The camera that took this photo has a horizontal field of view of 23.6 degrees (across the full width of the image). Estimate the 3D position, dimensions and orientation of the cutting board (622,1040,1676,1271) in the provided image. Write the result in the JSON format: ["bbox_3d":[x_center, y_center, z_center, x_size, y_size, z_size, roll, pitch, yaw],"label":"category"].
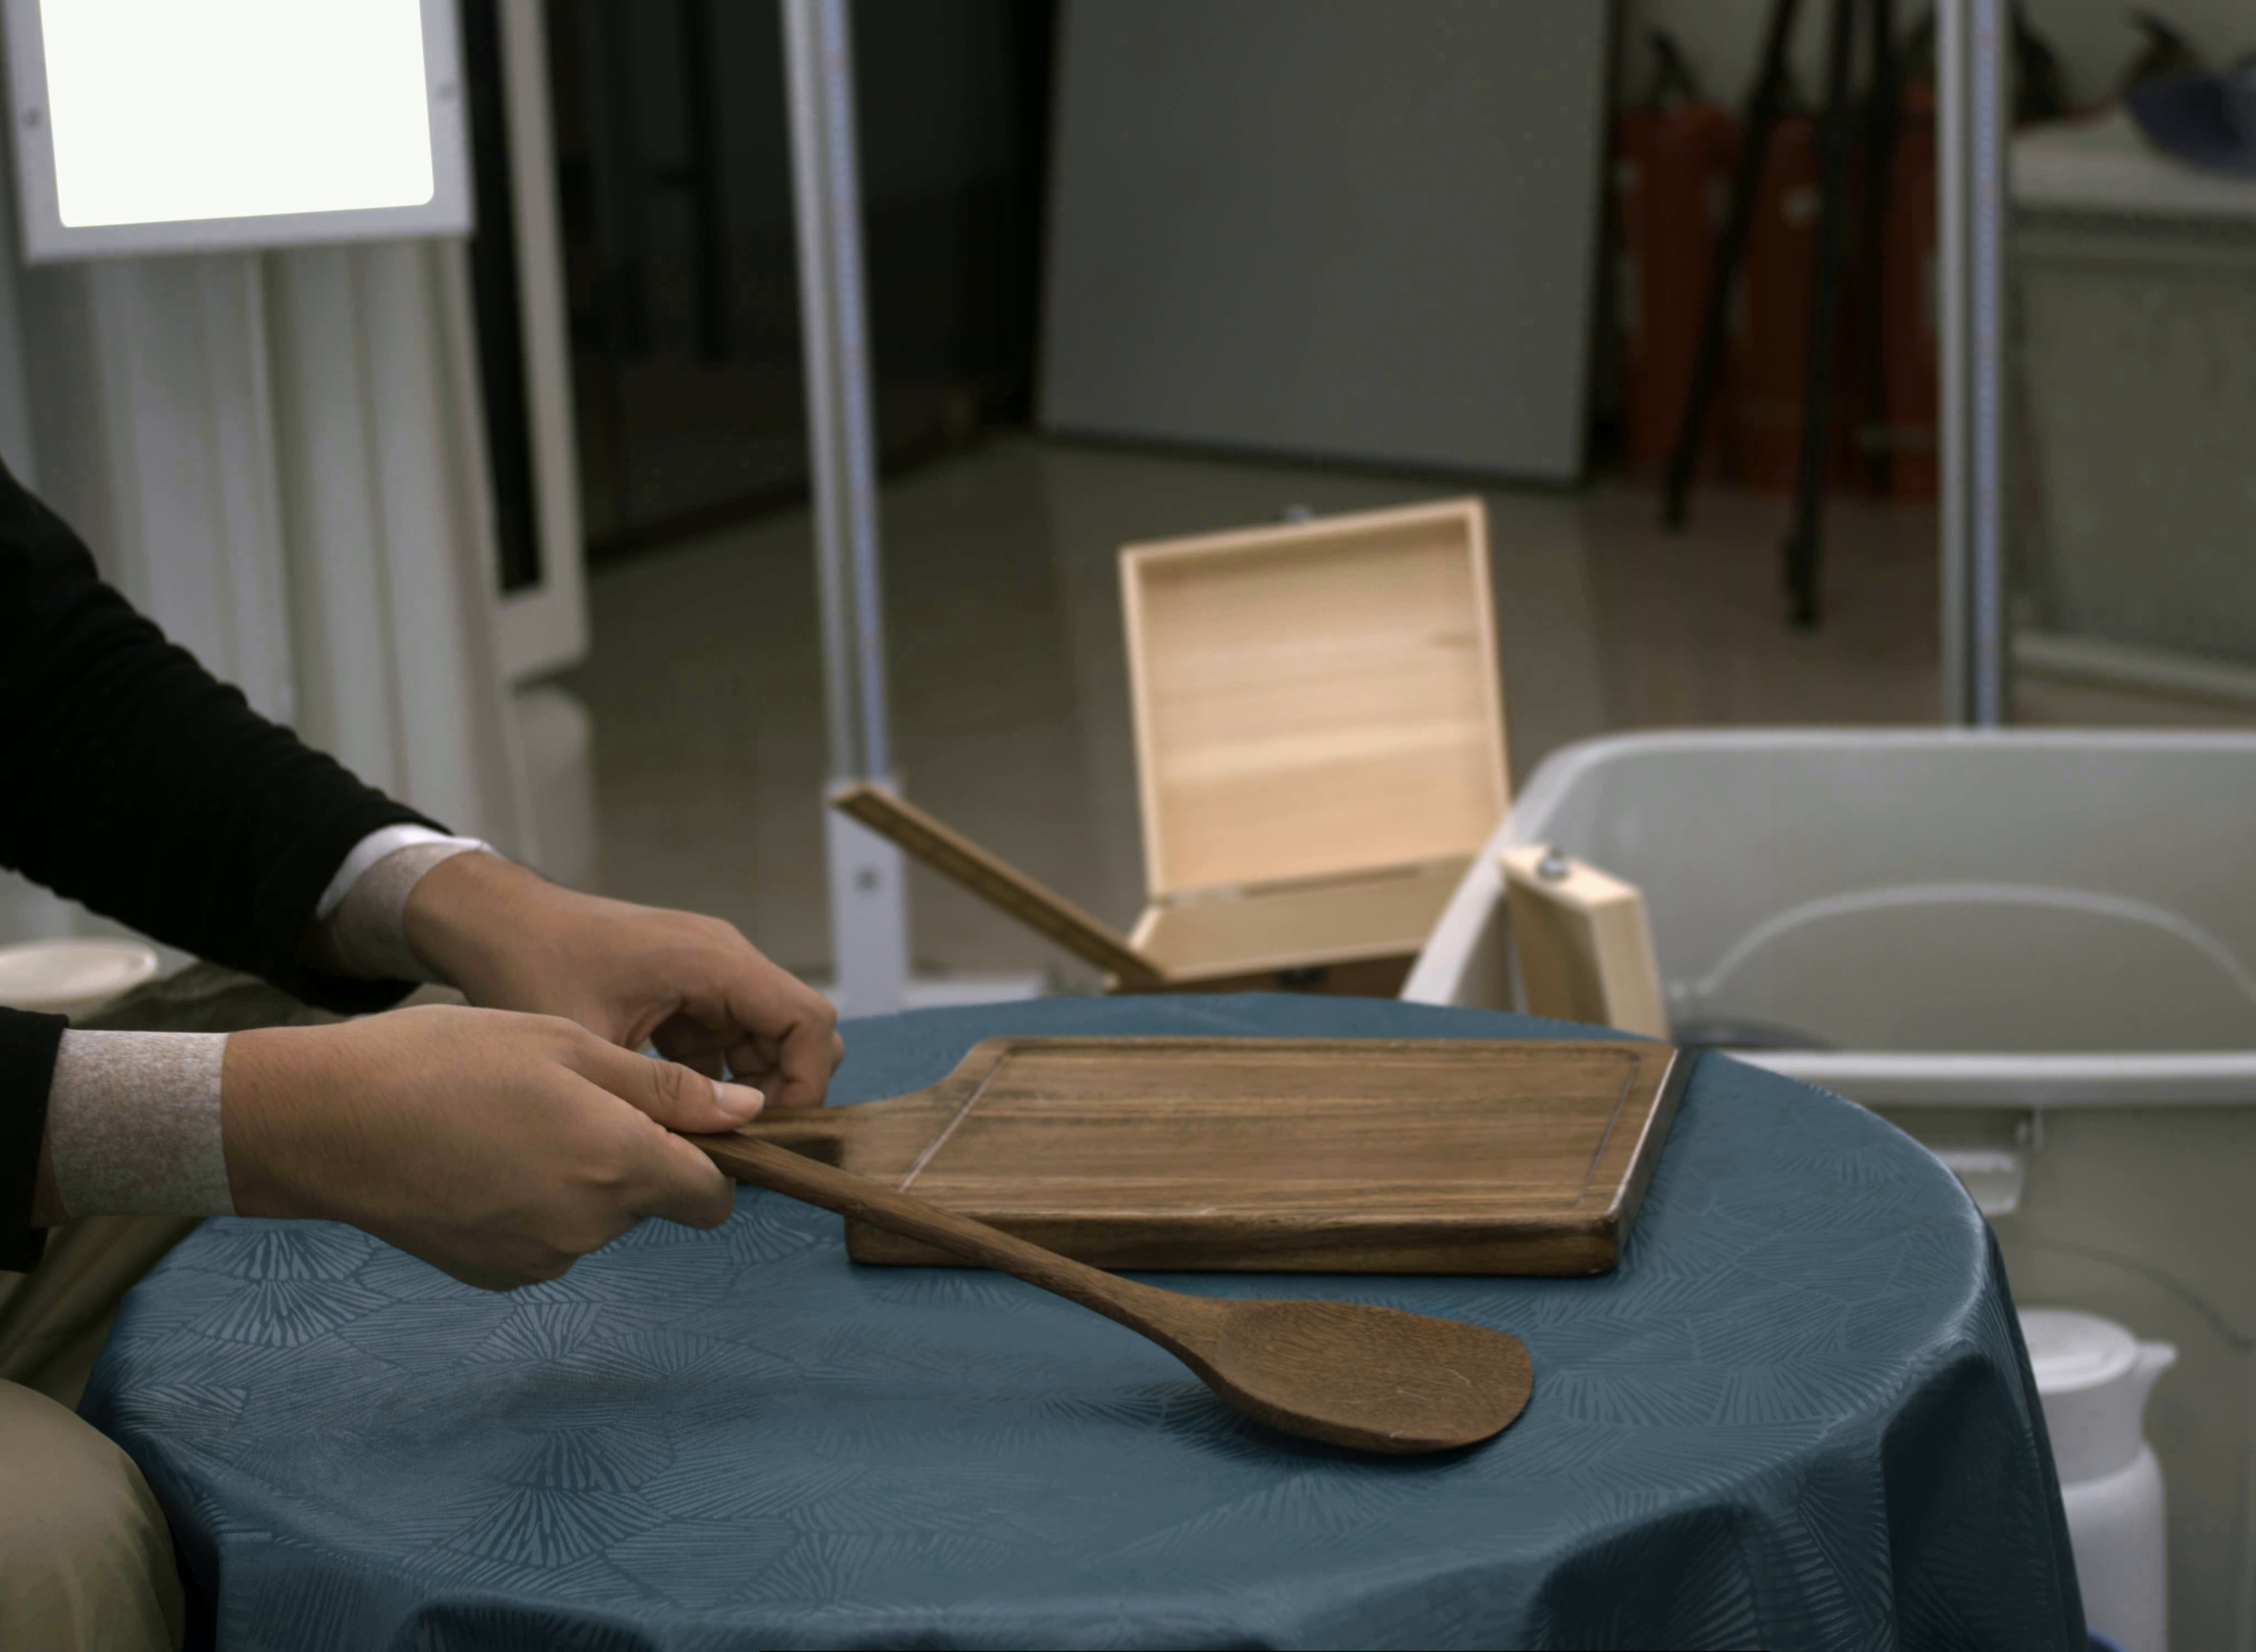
[{"bbox_3d":[0.001,0.107,1.783,0.350,0.023,0.200,-1,14,14],"label":"cutting board"}]

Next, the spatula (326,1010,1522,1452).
[{"bbox_3d":[-0.066,0.114,1.595,0.385,0.016,0.095,18,20,16],"label":"spatula"}]
